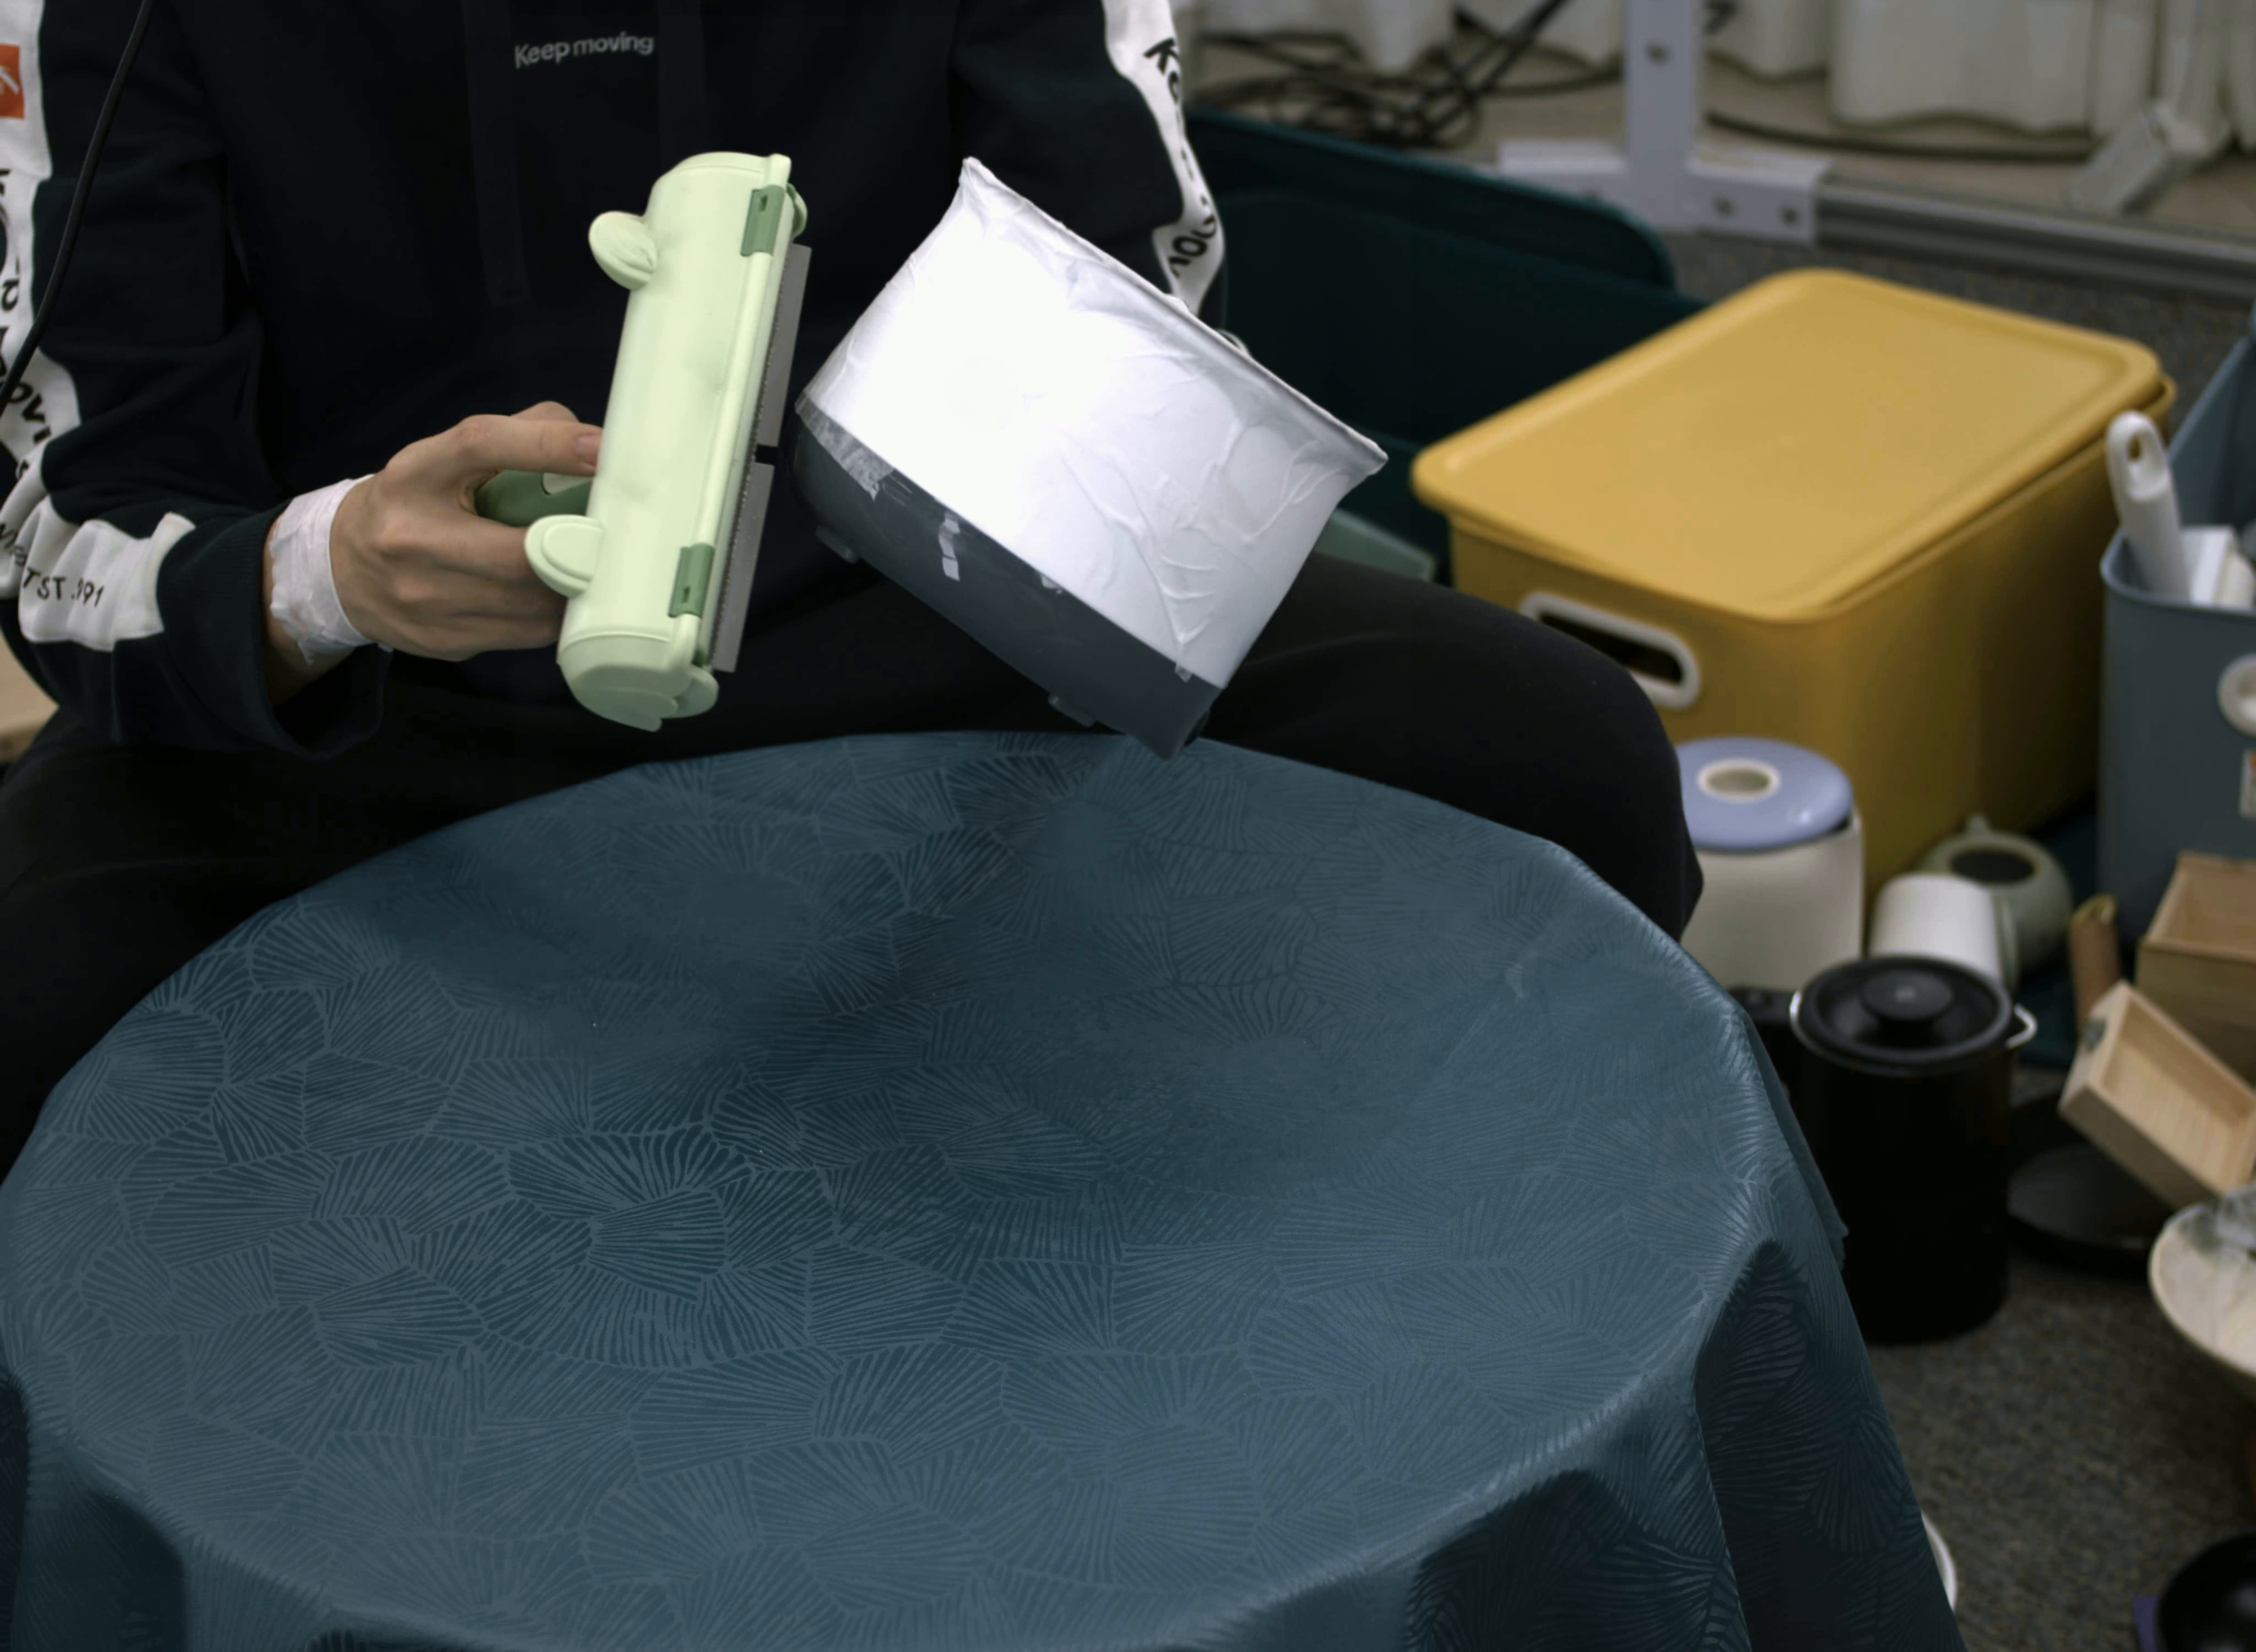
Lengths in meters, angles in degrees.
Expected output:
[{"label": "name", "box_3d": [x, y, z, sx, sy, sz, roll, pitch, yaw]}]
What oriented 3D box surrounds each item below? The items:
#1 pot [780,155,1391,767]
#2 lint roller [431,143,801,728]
[{"label": "pot", "box_3d": [-0.019, -0.126, 1.940, 0.178, 0.136, 0.234, 36, 4, -3]}, {"label": "lint roller", "box_3d": [-0.193, -0.124, 1.896, 0.181, 0.082, 0.202, -14, 57, 39]}]
